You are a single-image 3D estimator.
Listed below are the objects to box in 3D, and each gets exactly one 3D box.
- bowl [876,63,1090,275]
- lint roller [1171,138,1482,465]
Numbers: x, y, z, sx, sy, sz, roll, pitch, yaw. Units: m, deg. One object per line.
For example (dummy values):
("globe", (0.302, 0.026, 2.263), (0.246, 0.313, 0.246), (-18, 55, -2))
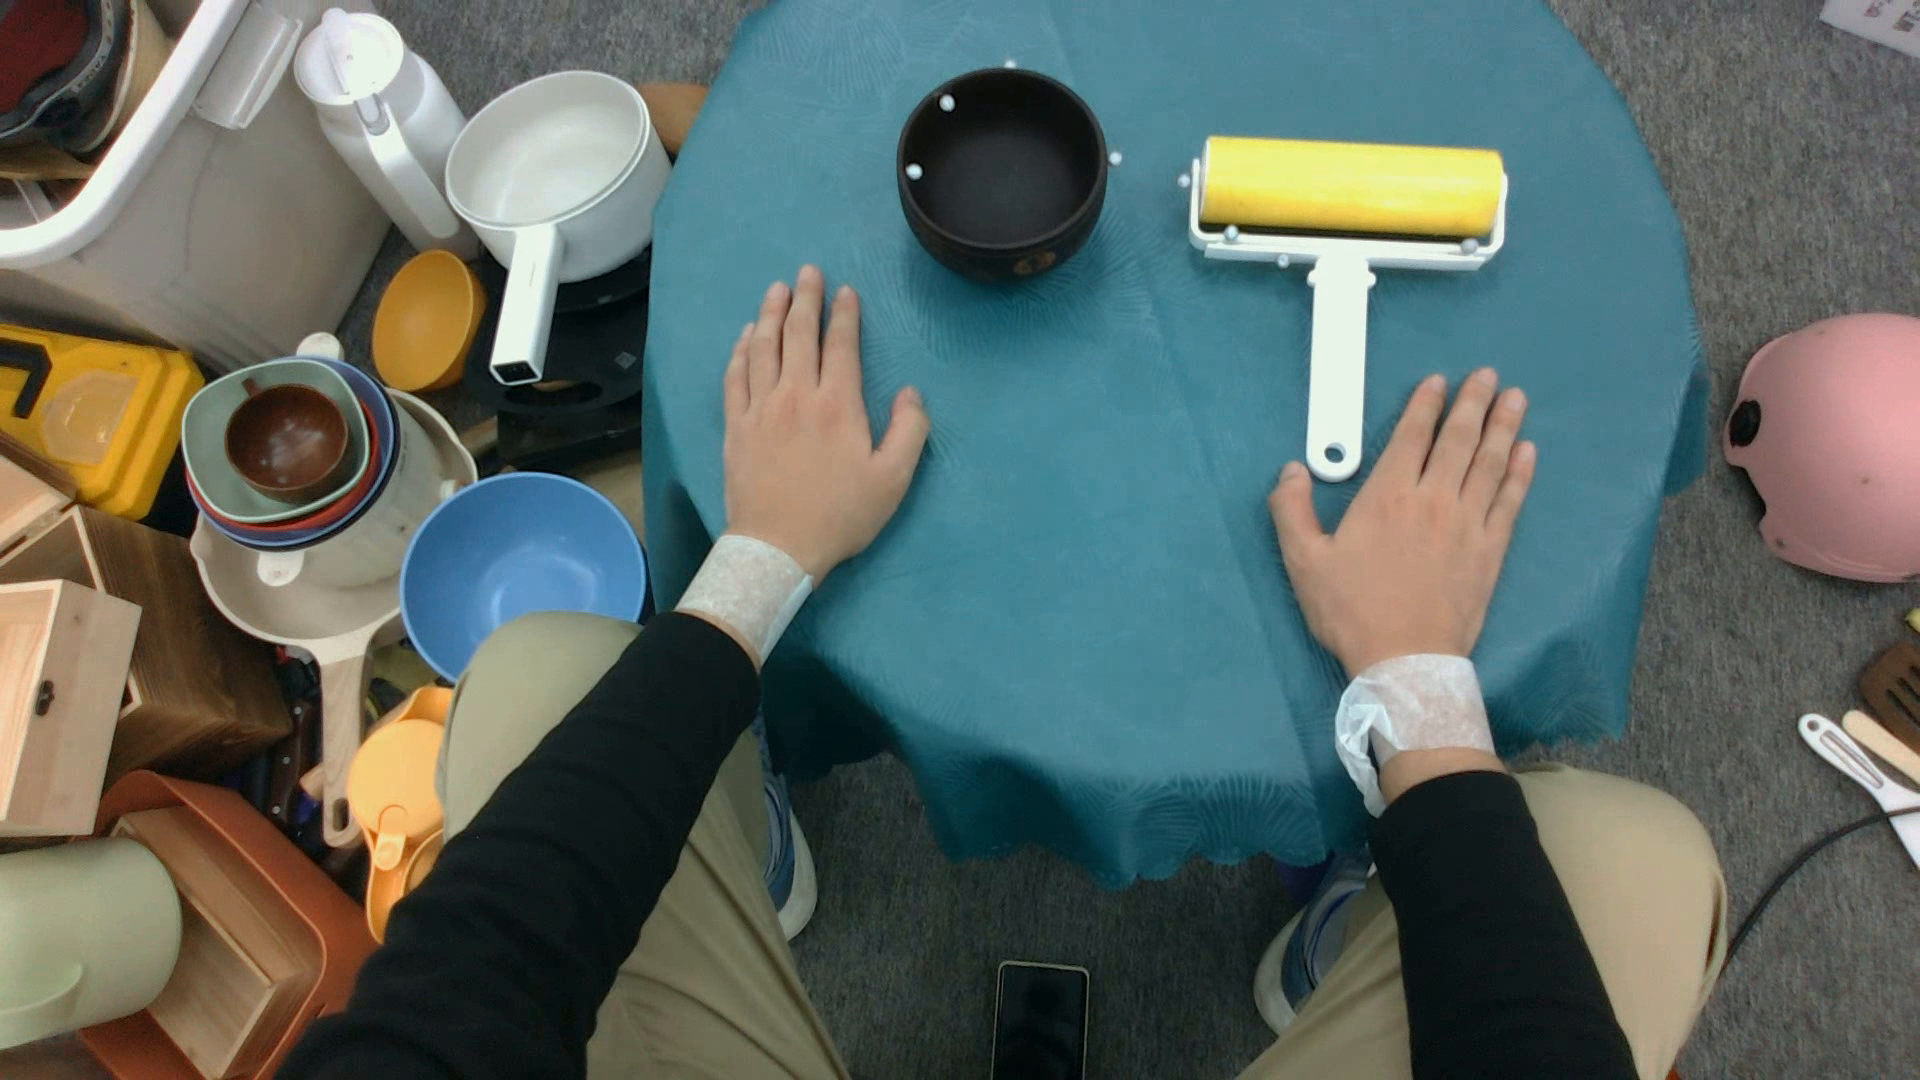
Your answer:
("bowl", (0.013, -0.202, 0.781), (0.118, 0.069, 0.118), (-1, 70, 2))
("lint roller", (0.205, -0.138, 0.766), (0.174, 0.051, 0.192), (2, 67, 3))
